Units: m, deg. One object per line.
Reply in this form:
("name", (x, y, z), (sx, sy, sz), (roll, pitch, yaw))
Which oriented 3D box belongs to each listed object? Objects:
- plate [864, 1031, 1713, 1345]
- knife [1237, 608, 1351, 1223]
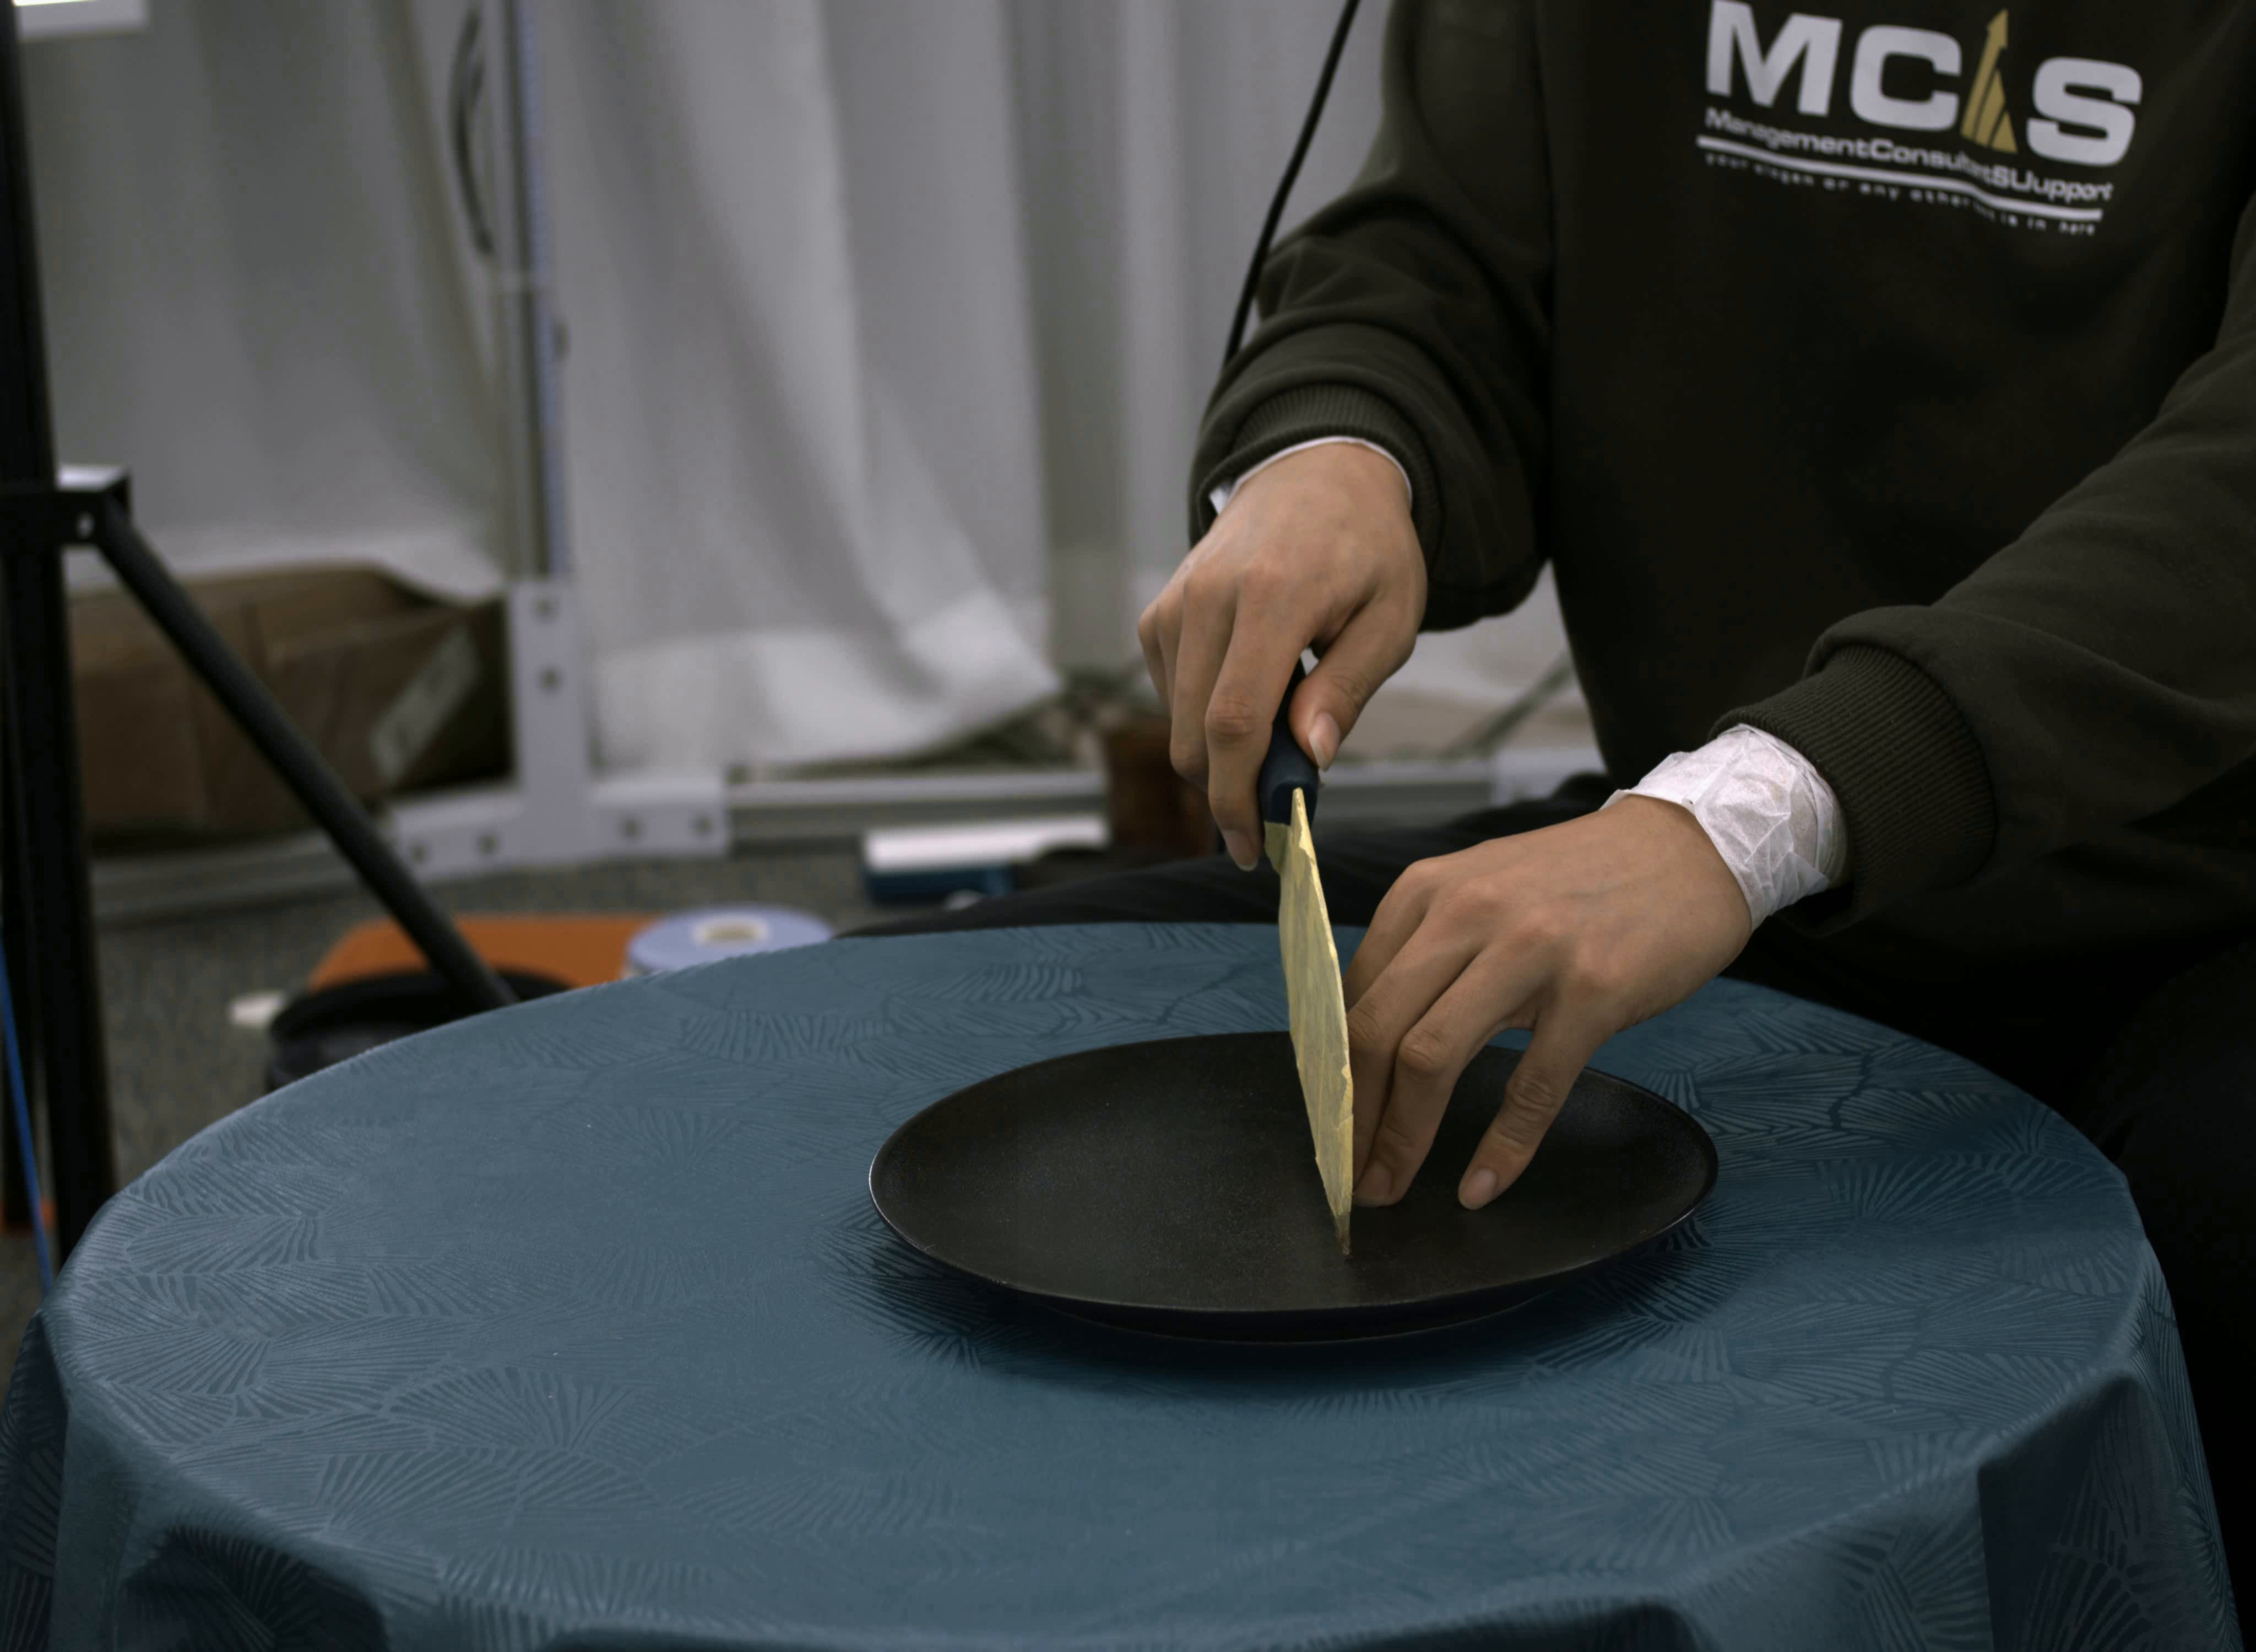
("plate", (0.046, 0.106, 1.520), (0.243, 0.023, 0.245), (-3, 16, -1))
("knife", (0.052, 0.022, 1.589), (0.027, 0.081, 0.292), (3, 33, -5))
